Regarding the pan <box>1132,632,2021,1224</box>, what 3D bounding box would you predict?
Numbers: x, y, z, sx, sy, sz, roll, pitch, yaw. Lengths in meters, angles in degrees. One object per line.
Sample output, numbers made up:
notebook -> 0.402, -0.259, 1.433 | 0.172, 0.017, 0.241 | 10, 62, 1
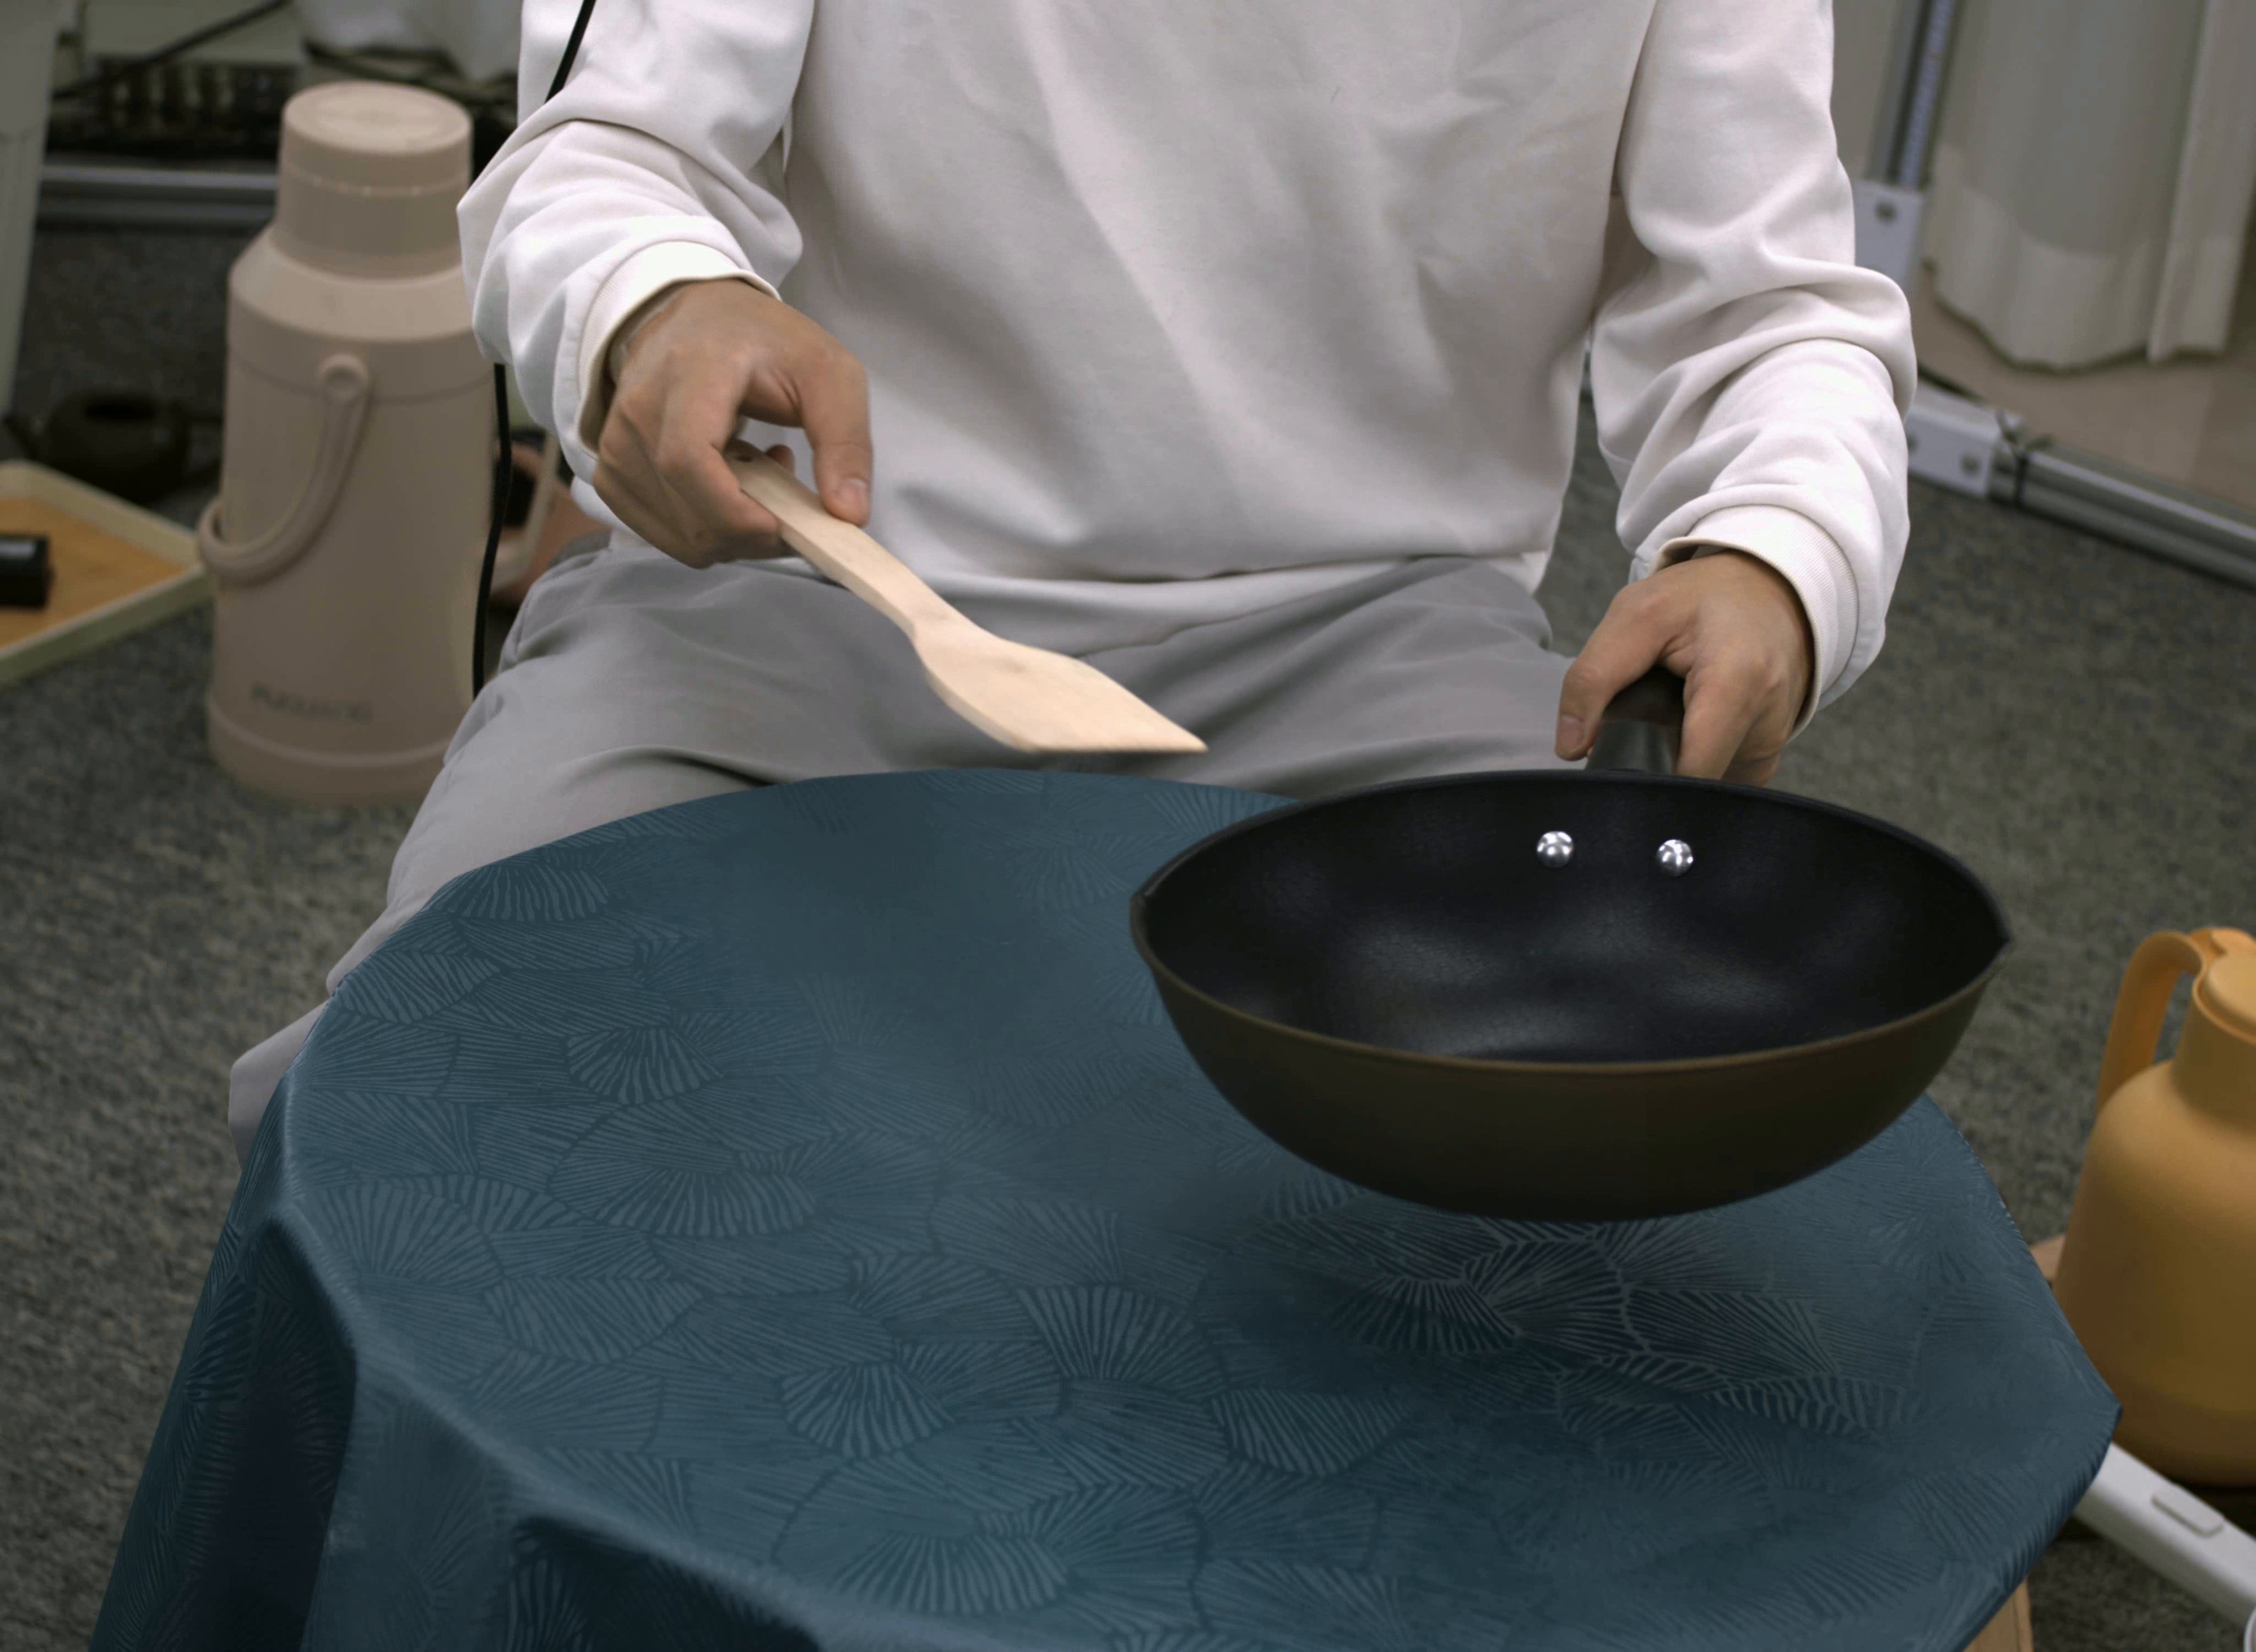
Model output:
pan -> 0.162, 0.034, 1.816 | 0.288, 0.086, 0.464 | 3, 19, 12

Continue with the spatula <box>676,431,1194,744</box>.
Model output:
spatula -> -0.081, -0.082, 1.806 | 0.072, 0.010, 0.295 | -1, 23, -33
